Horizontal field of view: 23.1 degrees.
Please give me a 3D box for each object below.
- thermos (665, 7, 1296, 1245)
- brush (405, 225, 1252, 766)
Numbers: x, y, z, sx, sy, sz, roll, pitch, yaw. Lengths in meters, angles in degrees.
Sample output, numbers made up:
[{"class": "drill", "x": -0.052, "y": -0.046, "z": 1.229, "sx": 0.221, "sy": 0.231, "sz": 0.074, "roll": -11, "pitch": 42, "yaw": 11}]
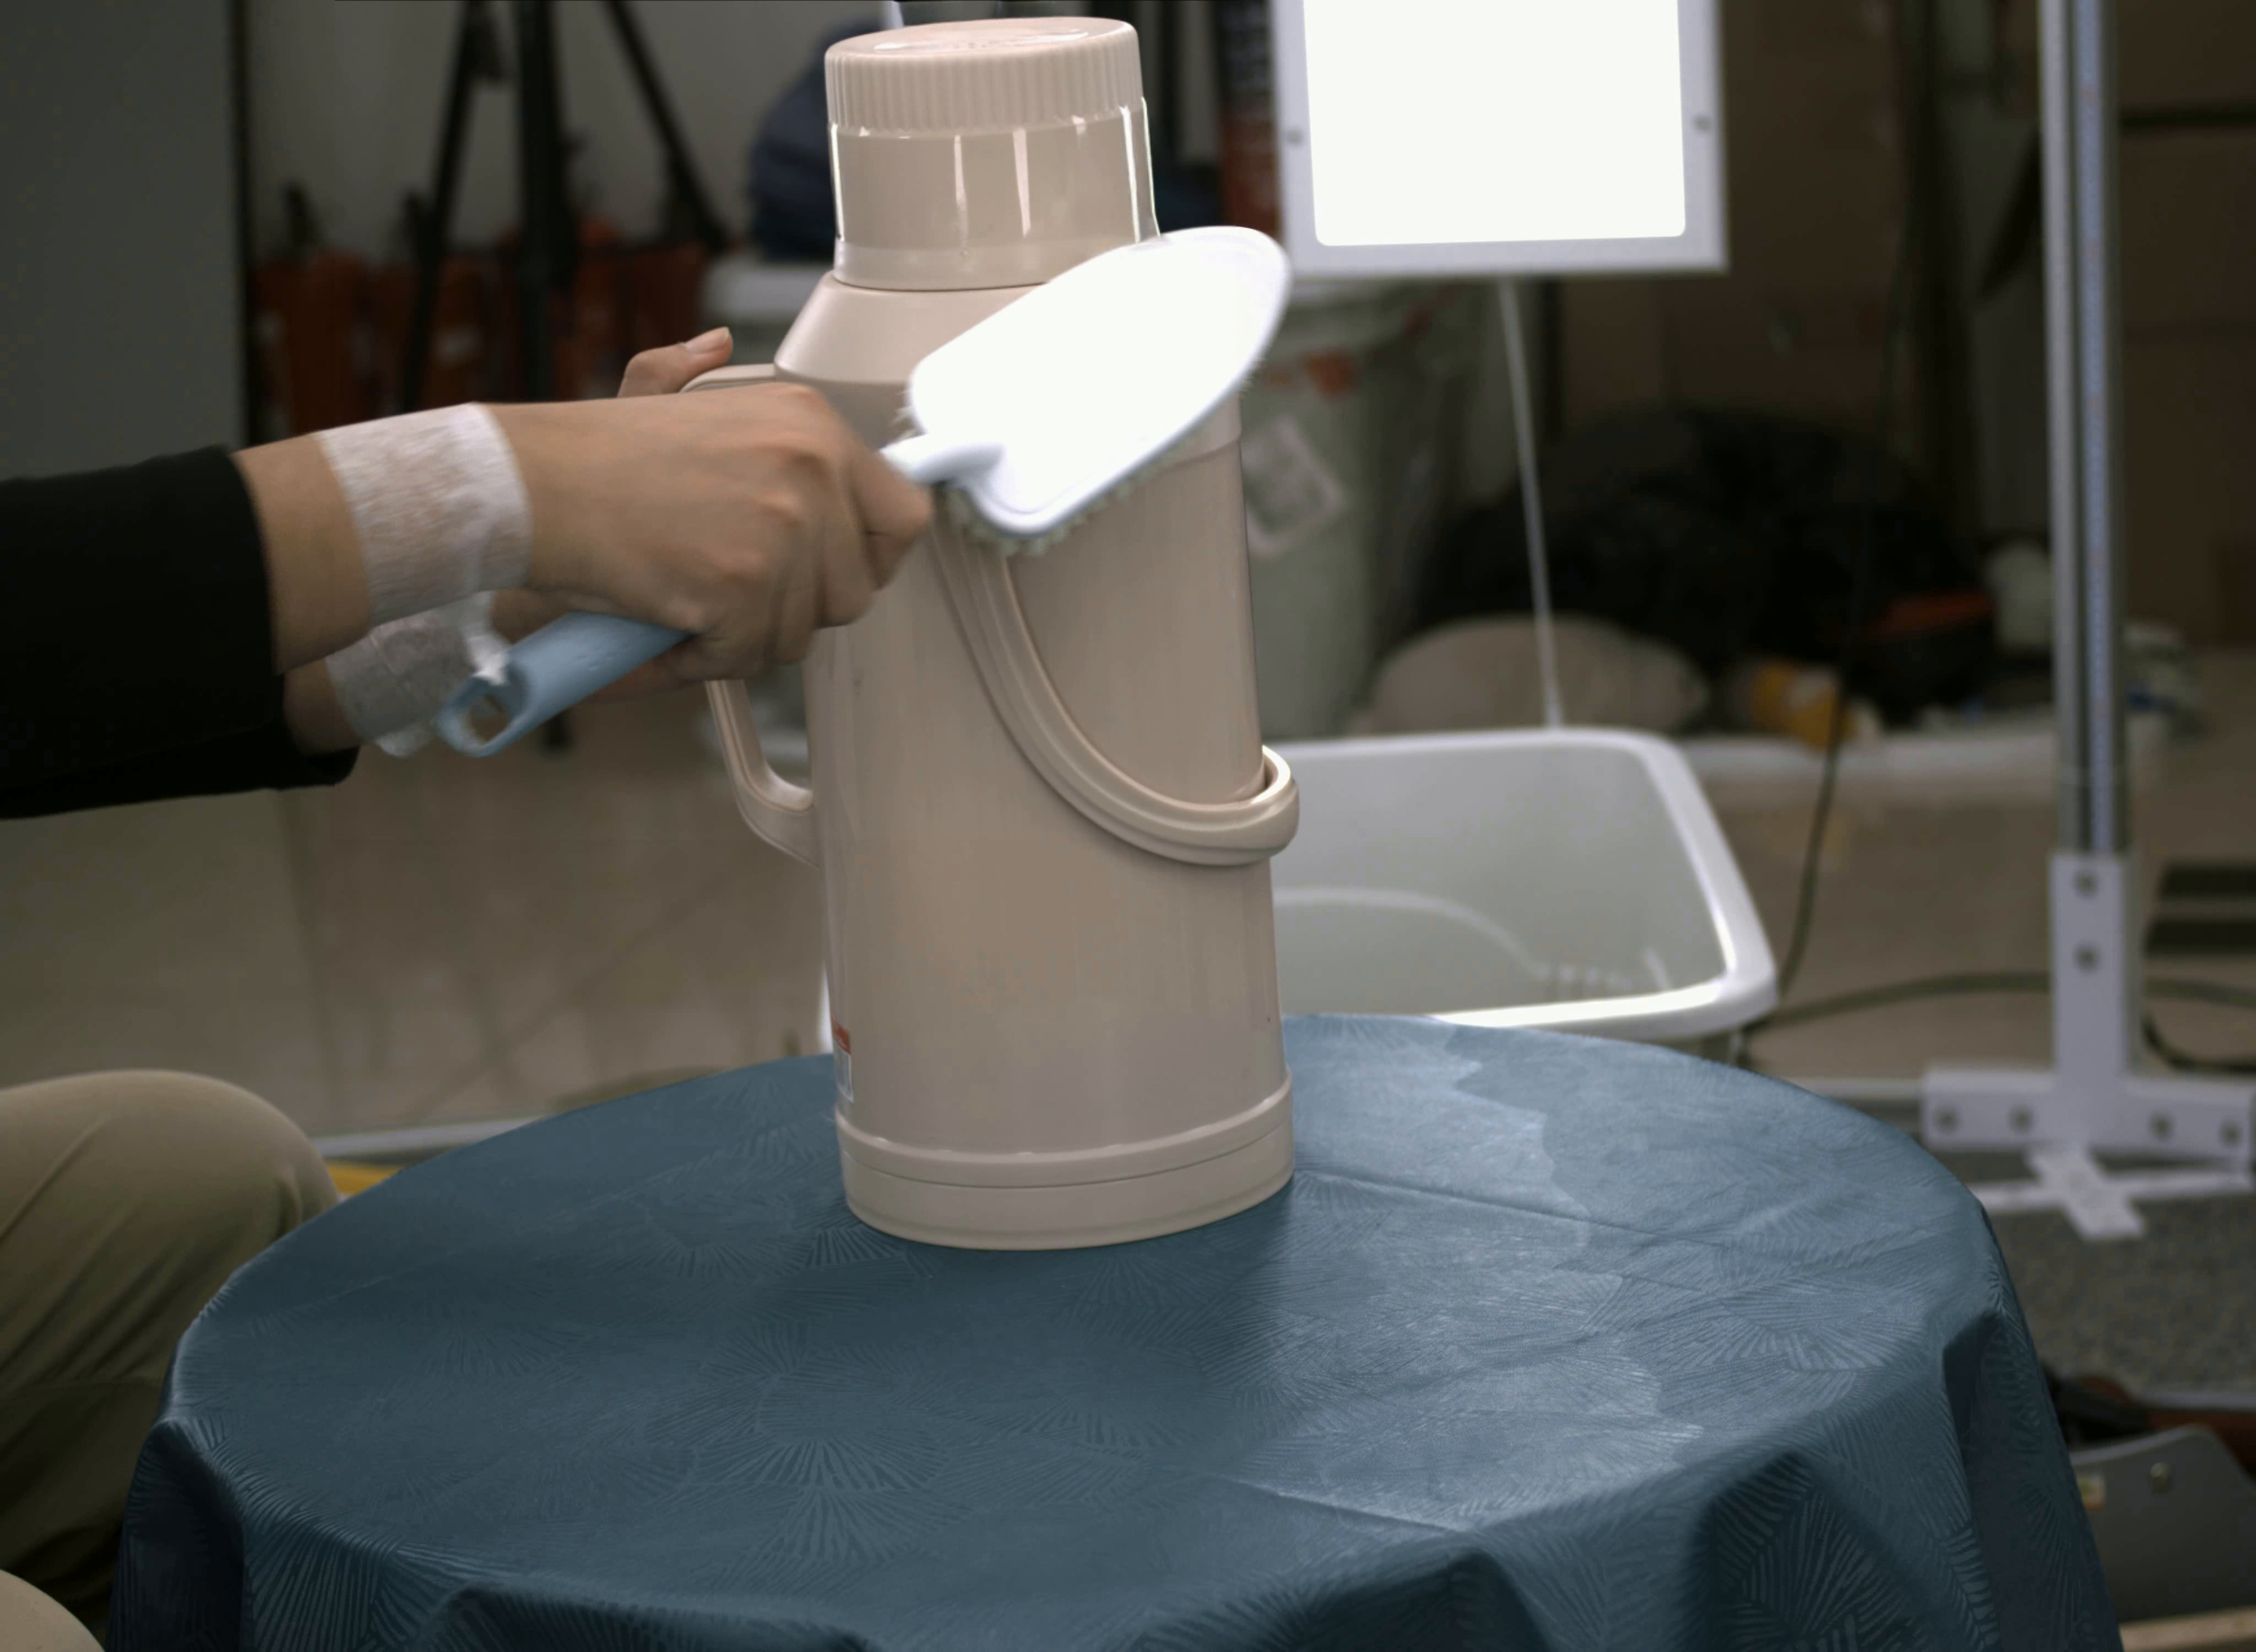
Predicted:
[{"class": "thermos", "x": -0.049, "y": -0.069, "z": 1.879, "sx": 0.208, "sy": 0.408, "sz": 0.173, "roll": -1, "pitch": 16, "yaw": 11}, {"class": "brush", "x": -0.095, "y": -0.096, "z": 1.715, "sx": 0.320, "sy": 0.084, "sz": 0.084, "roll": -33, "pitch": 42, "yaw": -22}]
